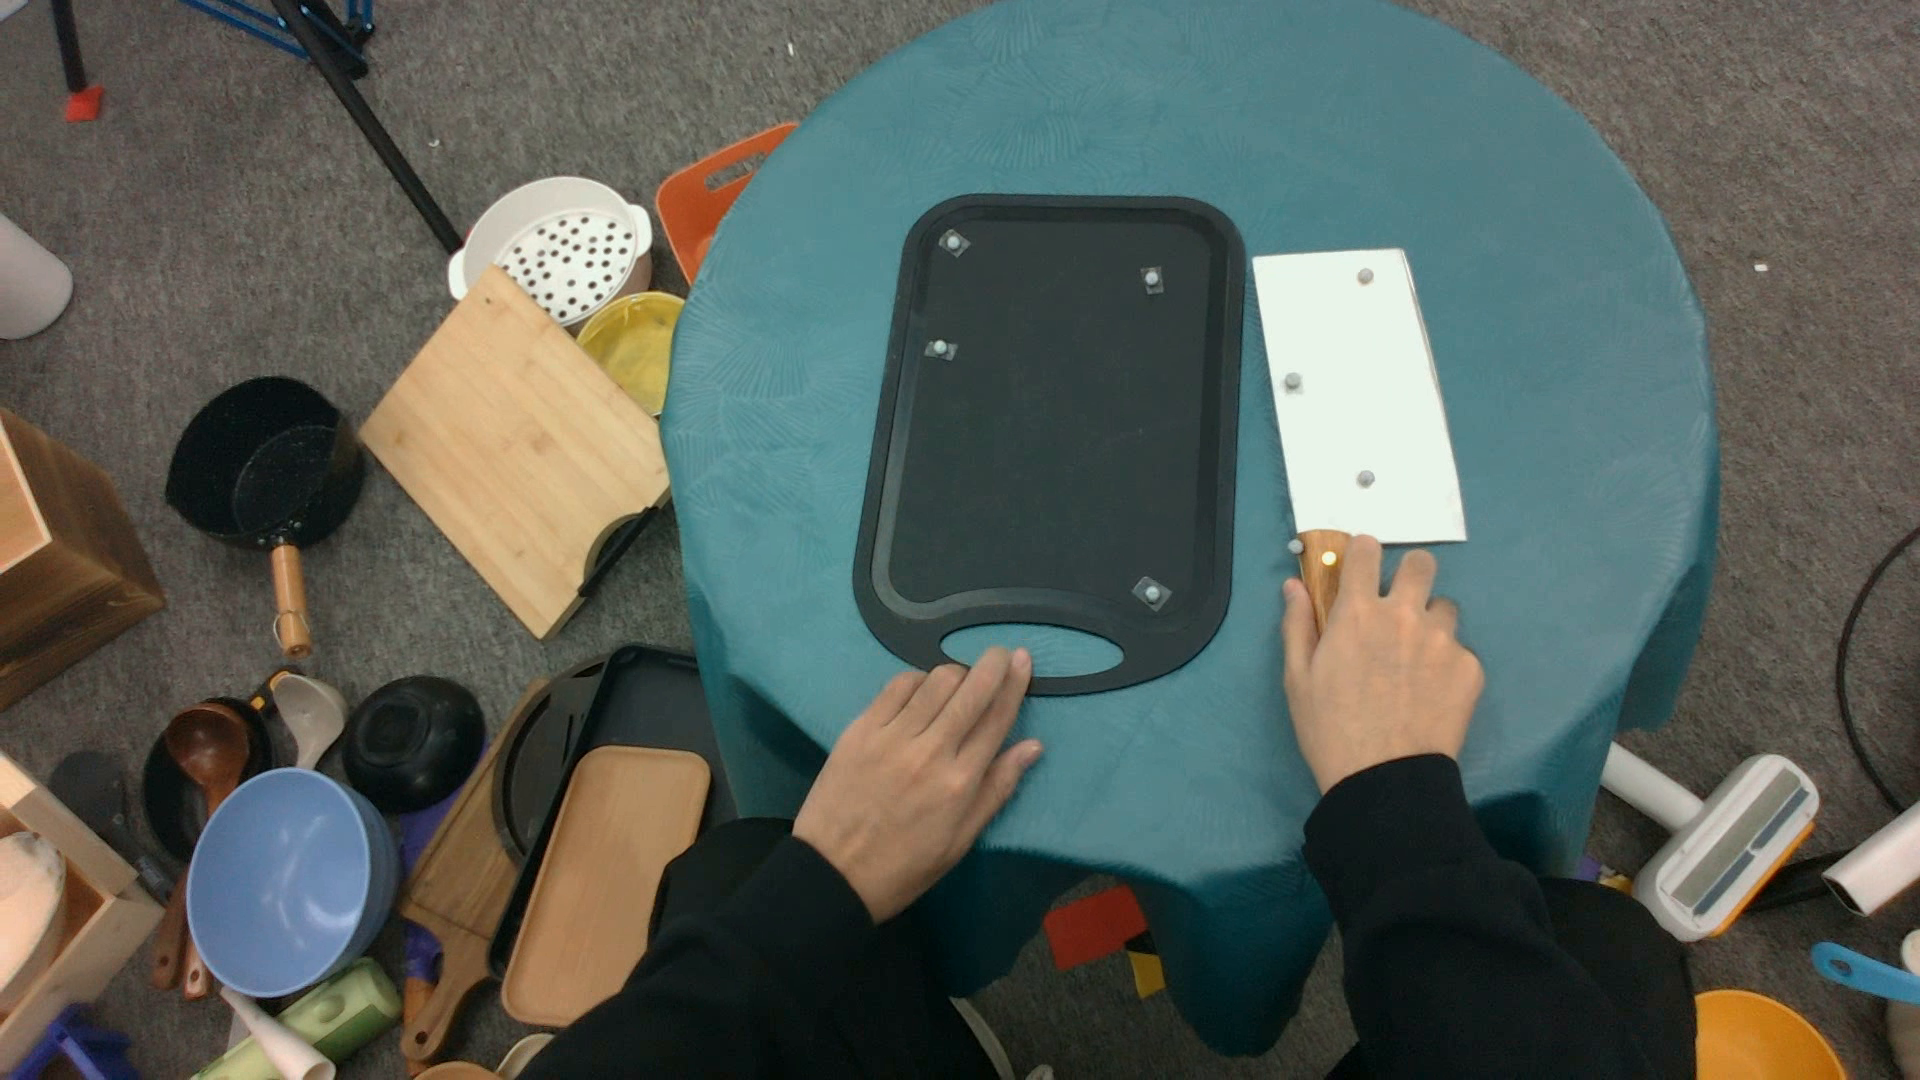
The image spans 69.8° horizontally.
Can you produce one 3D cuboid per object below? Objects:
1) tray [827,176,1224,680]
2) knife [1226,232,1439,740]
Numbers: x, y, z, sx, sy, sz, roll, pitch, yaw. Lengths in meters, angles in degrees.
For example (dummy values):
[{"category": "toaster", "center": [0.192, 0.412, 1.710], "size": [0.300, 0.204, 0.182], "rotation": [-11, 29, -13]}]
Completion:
[{"category": "tray", "center": [0.041, -0.076, 0.790], "size": [0.211, 0.010, 0.326], "rotation": [4, 67, 8]}, {"category": "knife", "center": [0.210, -0.042, 0.752], "size": [0.093, 0.021, 0.307], "rotation": [-3, 66, -2]}]
